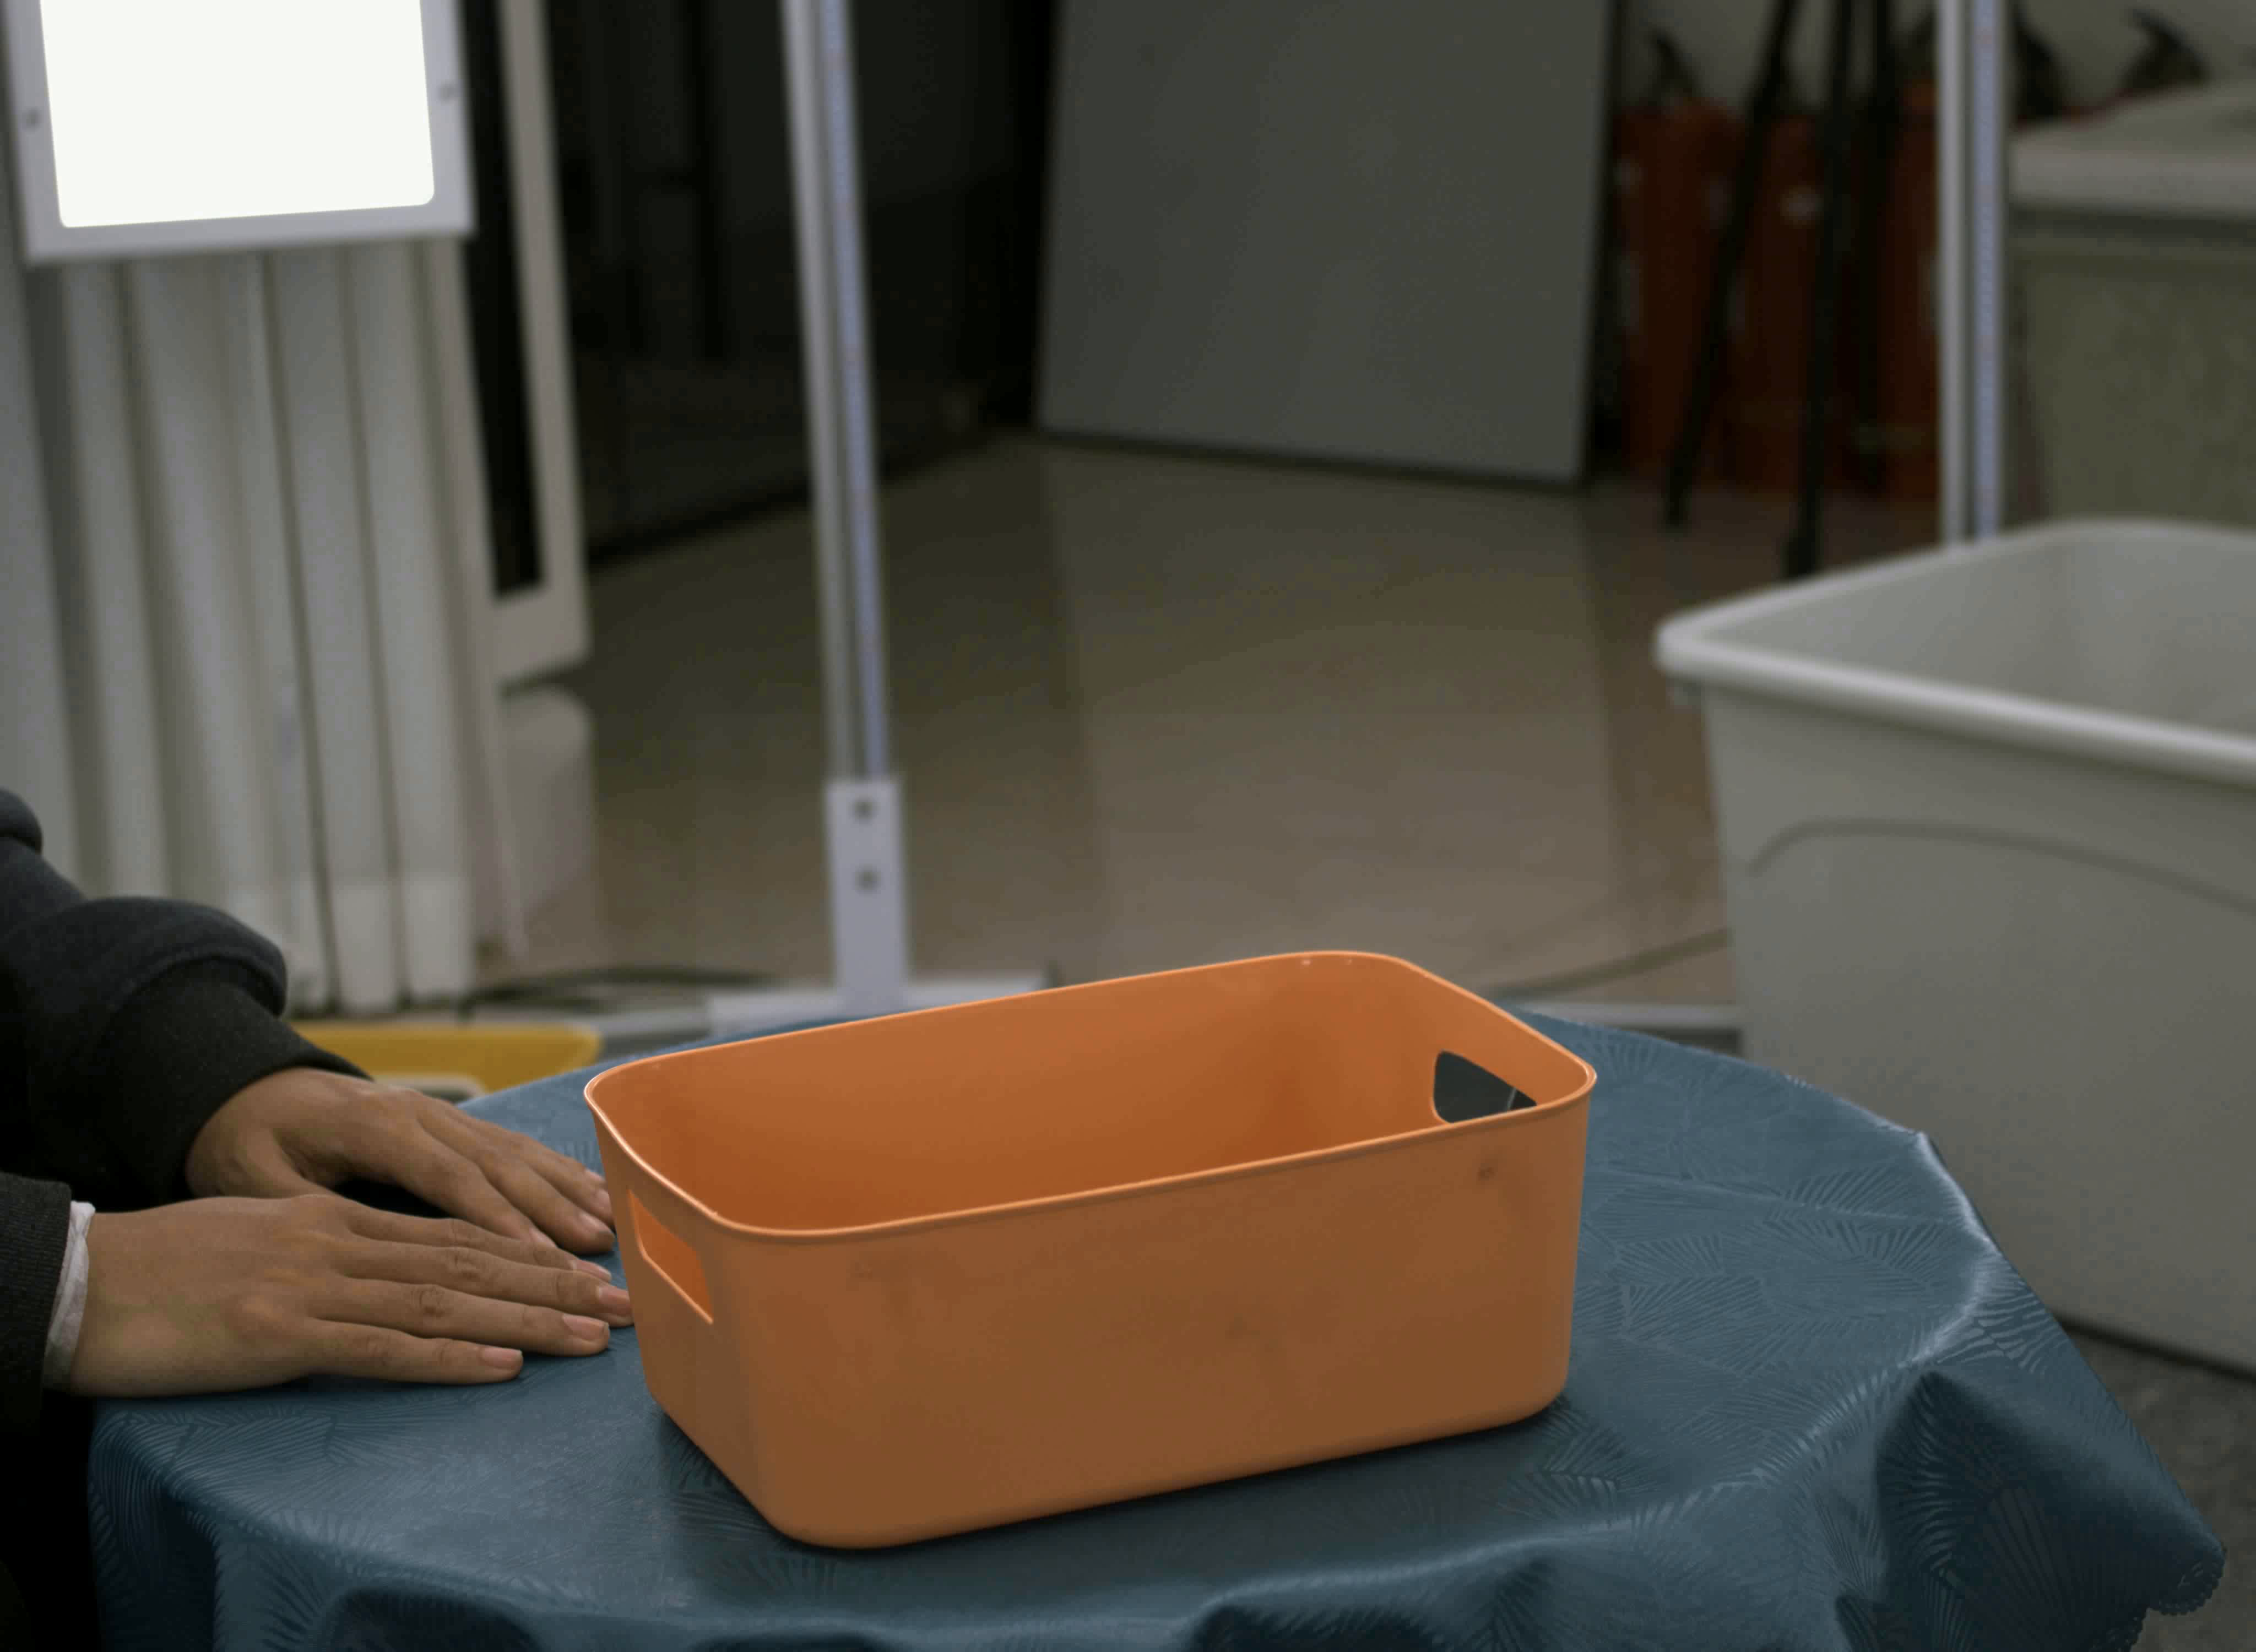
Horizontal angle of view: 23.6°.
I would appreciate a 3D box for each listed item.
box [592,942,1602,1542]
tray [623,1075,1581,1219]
[{"bbox_3d":[-0.010,0.117,1.563,0.267,0.104,0.201,-8,14,-19],"label":"box"},{"bbox_3d":[-0.012,0.105,1.826,0.323,0.010,0.210,-1,14,12],"label":"tray"}]
